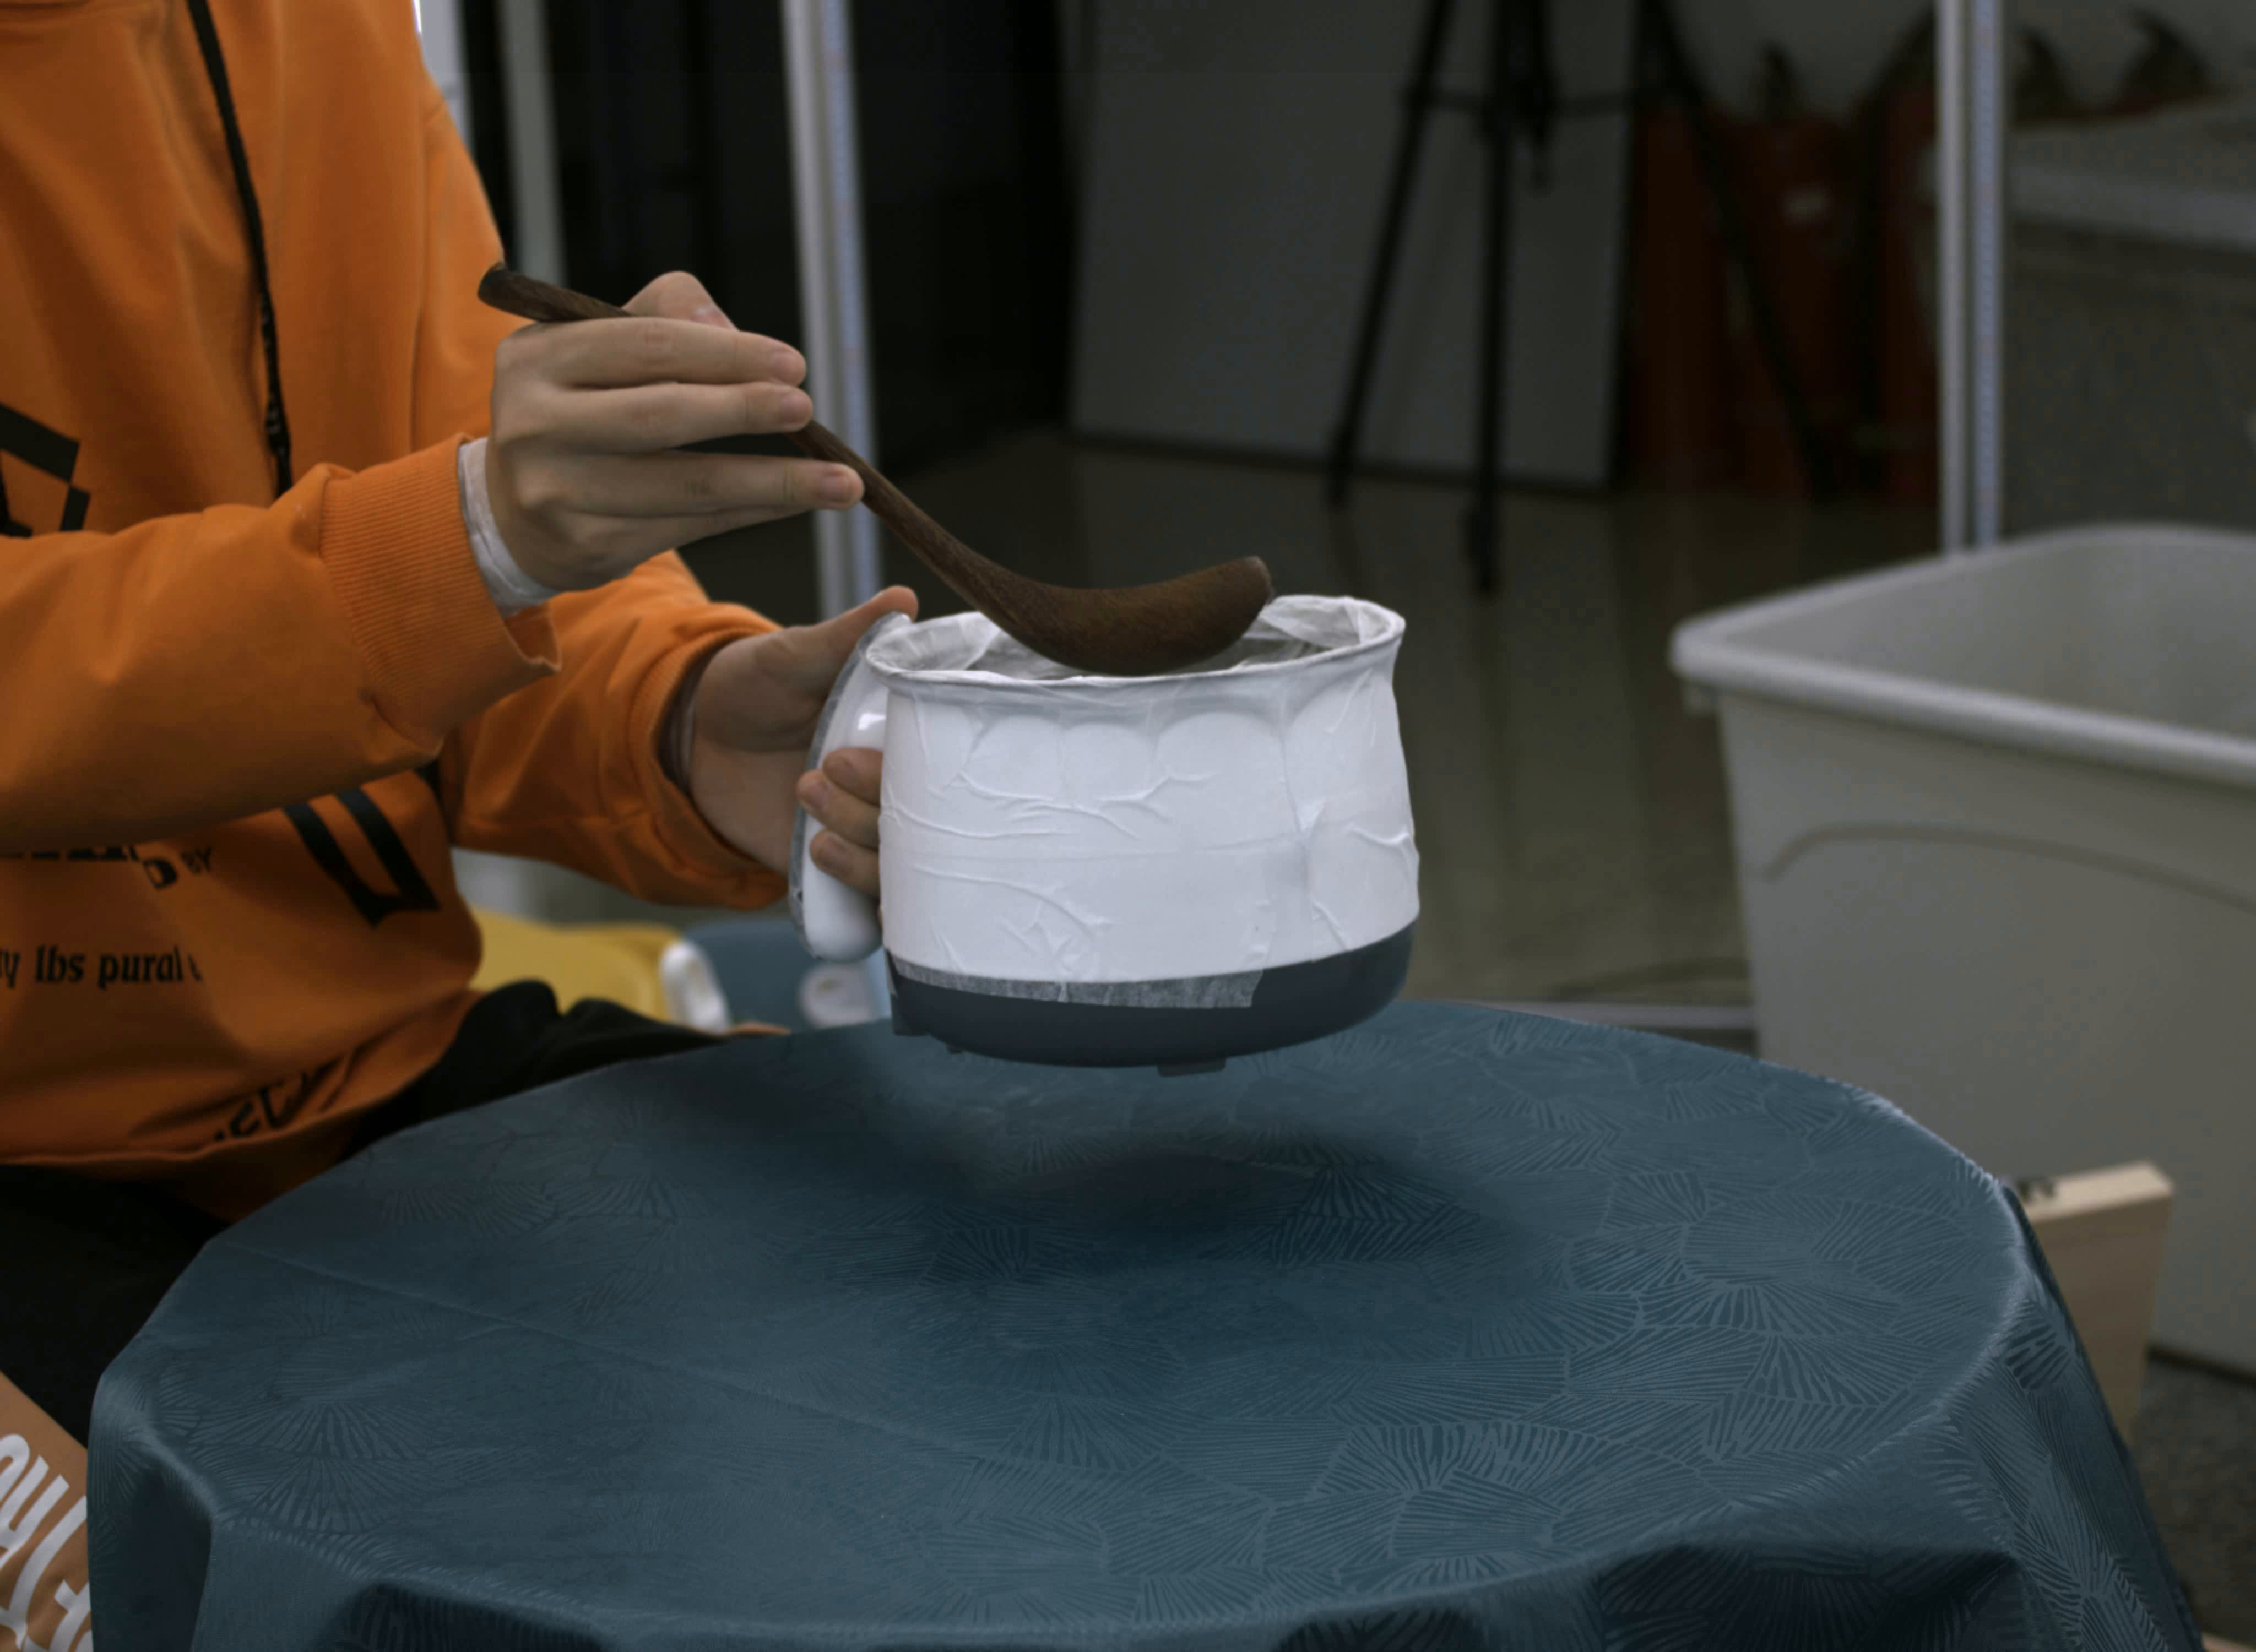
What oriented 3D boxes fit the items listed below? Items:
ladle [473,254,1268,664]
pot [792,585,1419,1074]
[{"bbox_3d":[-0.080,-0.132,1.764,0.272,0.071,0.076,33,-17,-2],"label":"ladle"},{"bbox_3d":[-0.017,-0.002,1.771,0.235,0.138,0.175,2,11,35],"label":"pot"}]
